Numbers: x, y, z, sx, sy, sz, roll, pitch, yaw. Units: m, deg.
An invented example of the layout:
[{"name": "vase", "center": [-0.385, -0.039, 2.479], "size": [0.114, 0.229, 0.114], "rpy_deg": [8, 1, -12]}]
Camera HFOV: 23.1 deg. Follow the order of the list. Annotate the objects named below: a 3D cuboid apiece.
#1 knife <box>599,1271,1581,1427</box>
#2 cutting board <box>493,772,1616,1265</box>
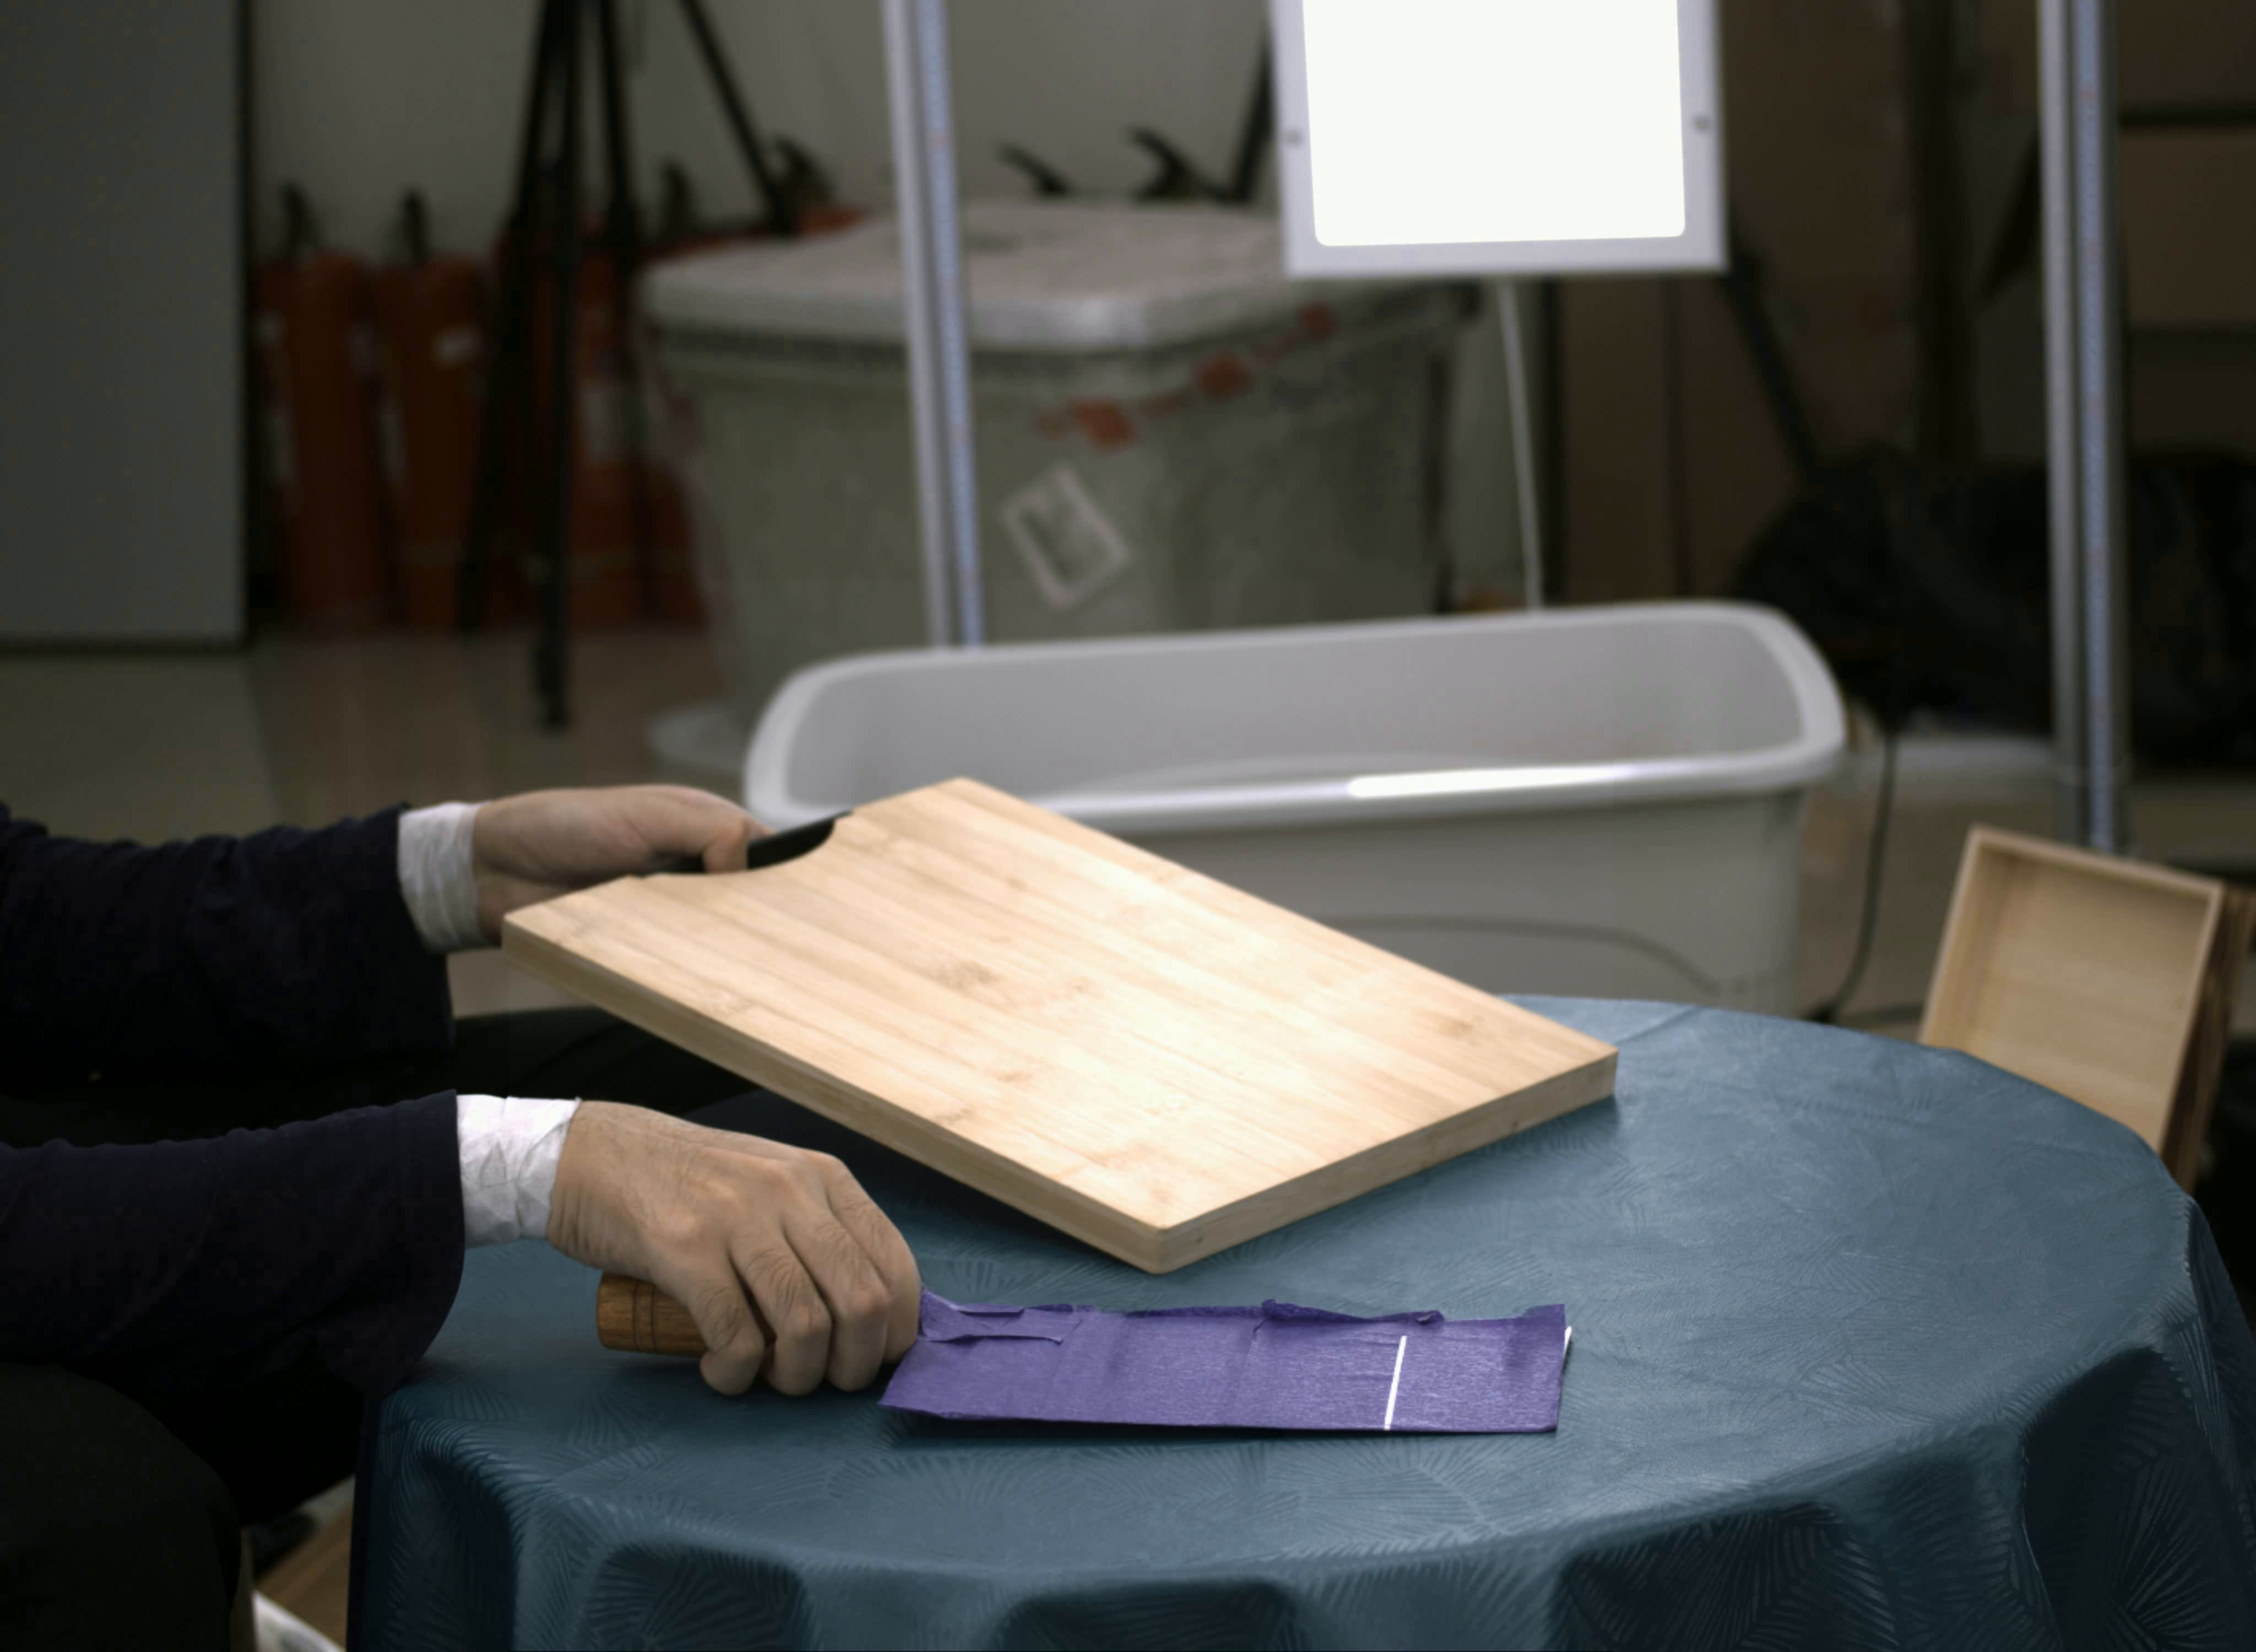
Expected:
[{"name": "knife", "center": [-0.018, 0.162, 1.707], "size": [0.317, 0.032, 0.103], "rpy_deg": [-2, 15, 12]}, {"name": "cutting board", "center": [-0.030, 0.063, 2.002], "size": [0.355, 0.024, 0.244], "rpy_deg": [22, 28, 40]}]
